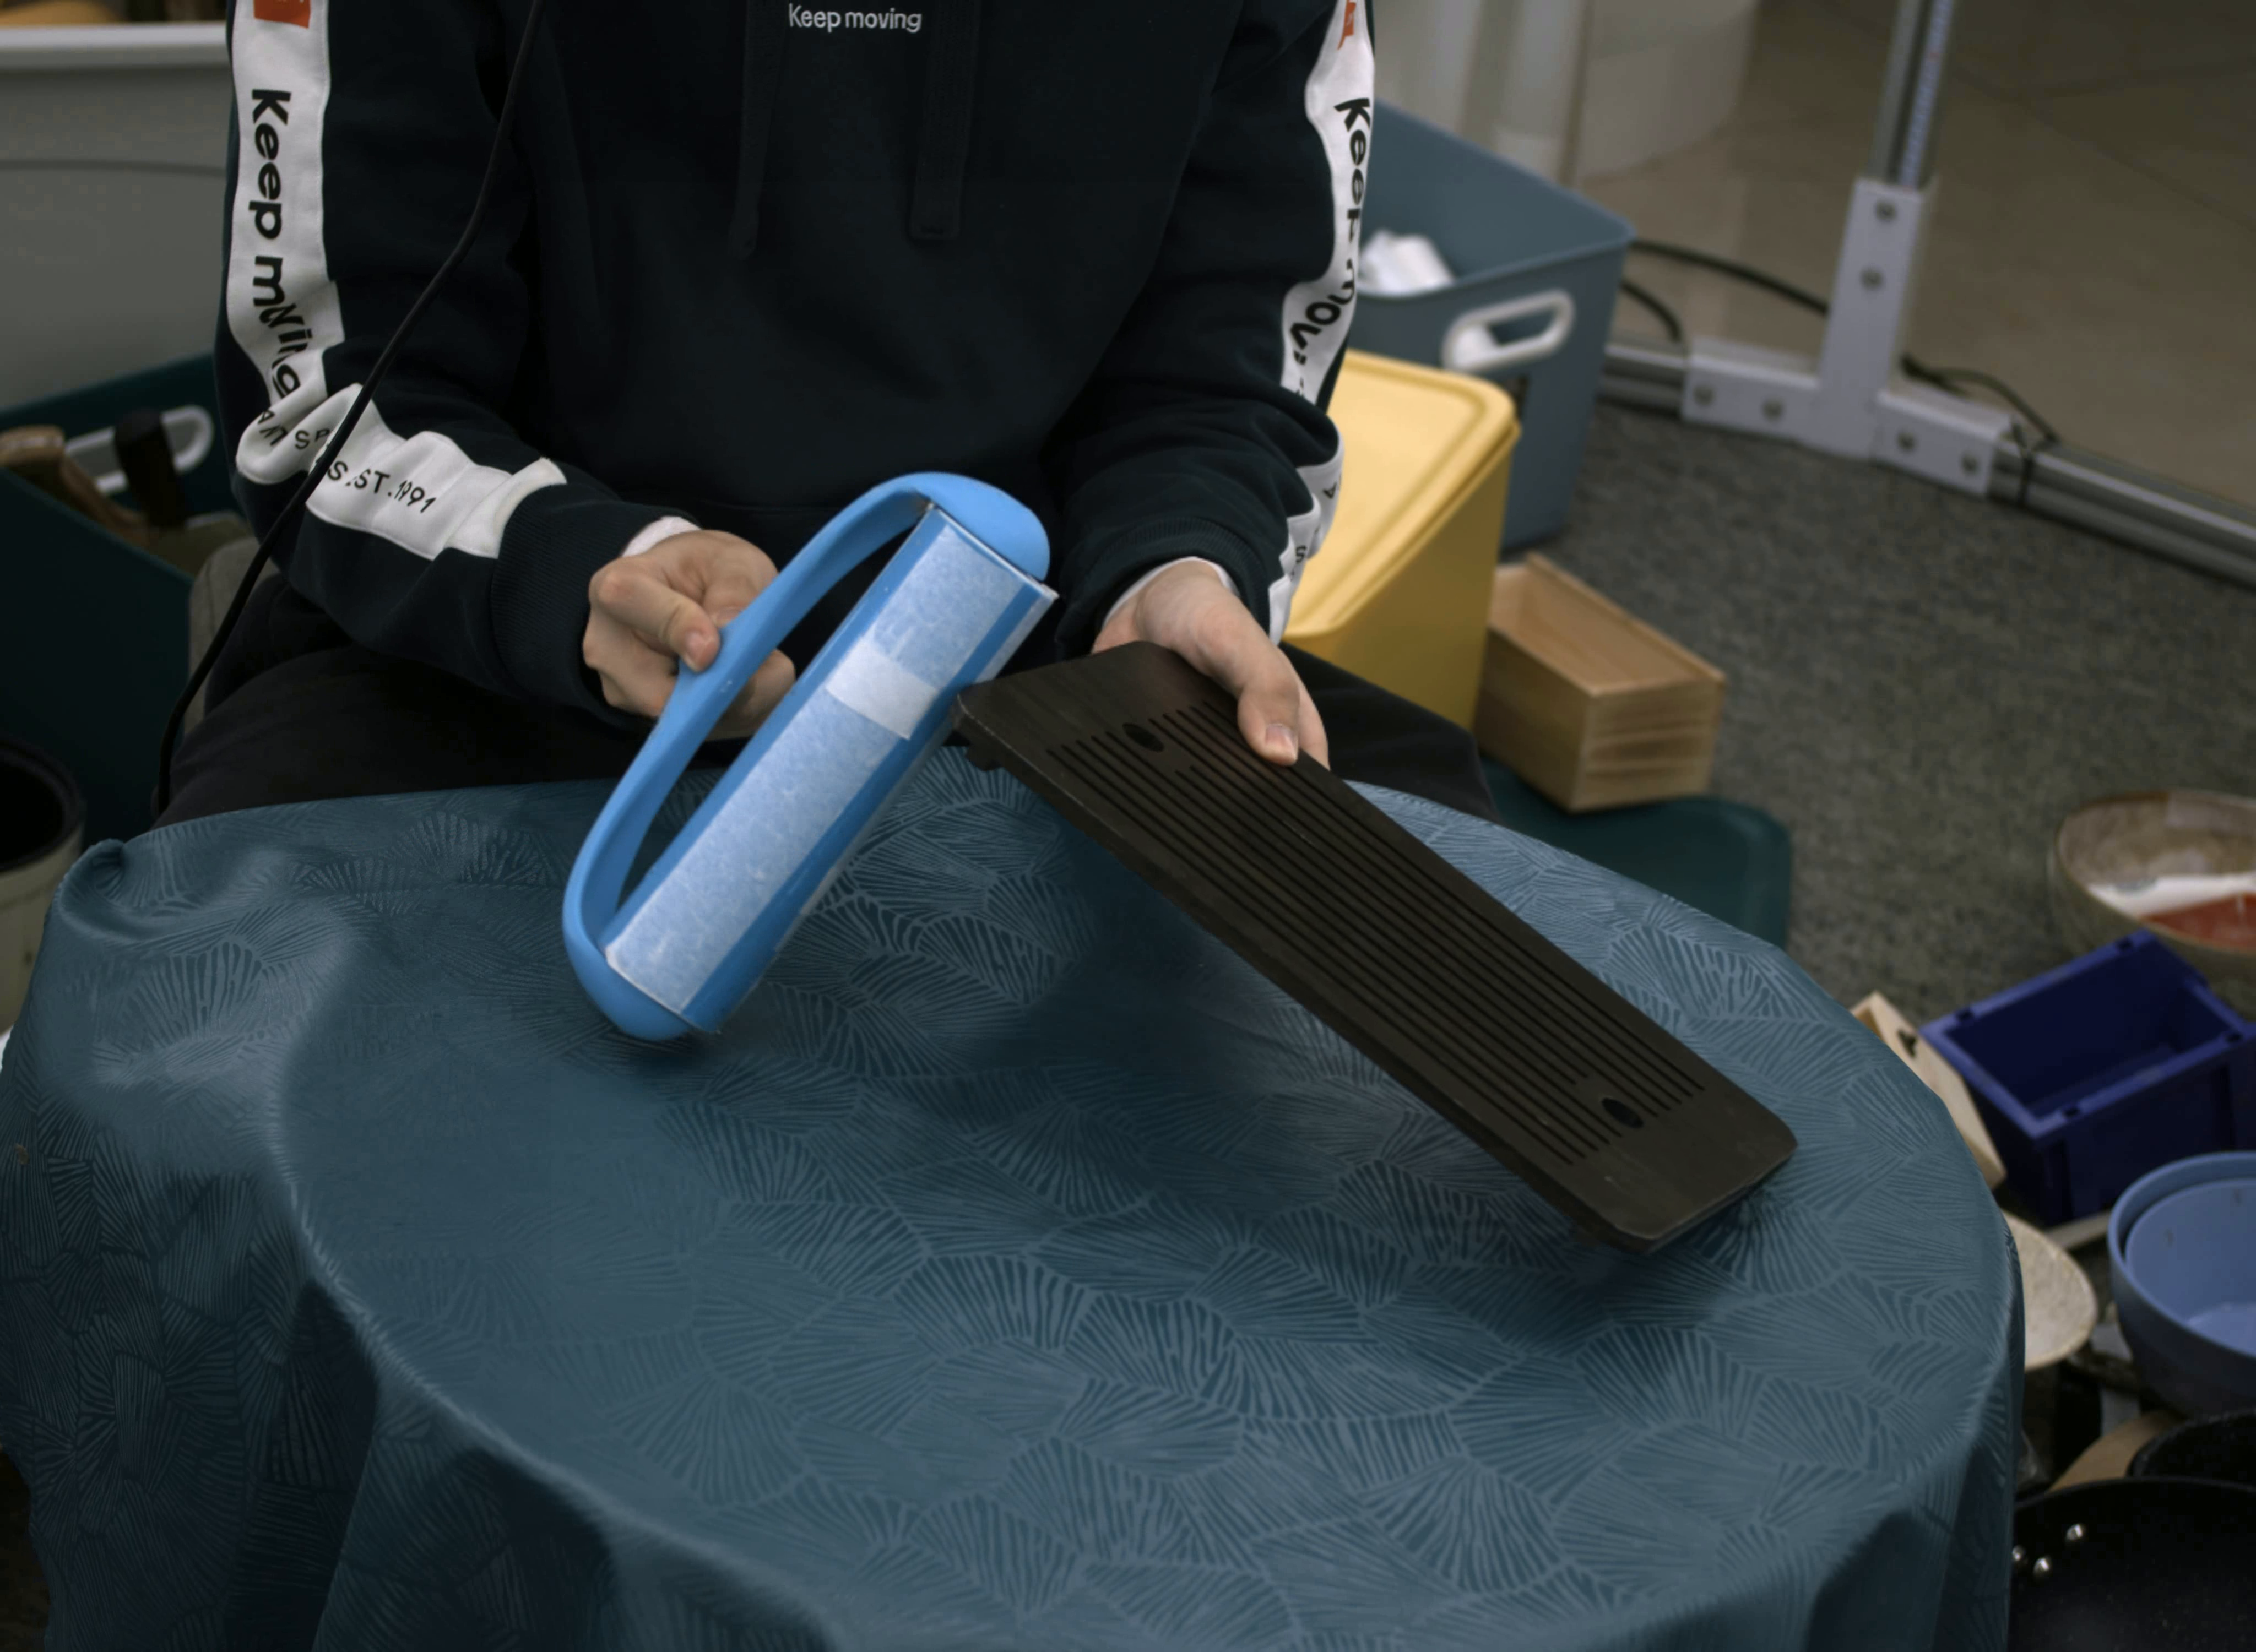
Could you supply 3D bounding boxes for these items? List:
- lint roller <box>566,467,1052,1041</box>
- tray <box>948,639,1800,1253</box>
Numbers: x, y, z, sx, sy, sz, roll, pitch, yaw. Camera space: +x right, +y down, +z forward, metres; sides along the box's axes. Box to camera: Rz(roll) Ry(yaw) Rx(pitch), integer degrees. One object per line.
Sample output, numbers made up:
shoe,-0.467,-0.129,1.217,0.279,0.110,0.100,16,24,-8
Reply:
lint roller,-0.129,-0.040,1.885,0.067,0.229,0.181,35,0,-30
tray,0.085,0.038,1.833,0.307,0.018,0.169,38,22,17
